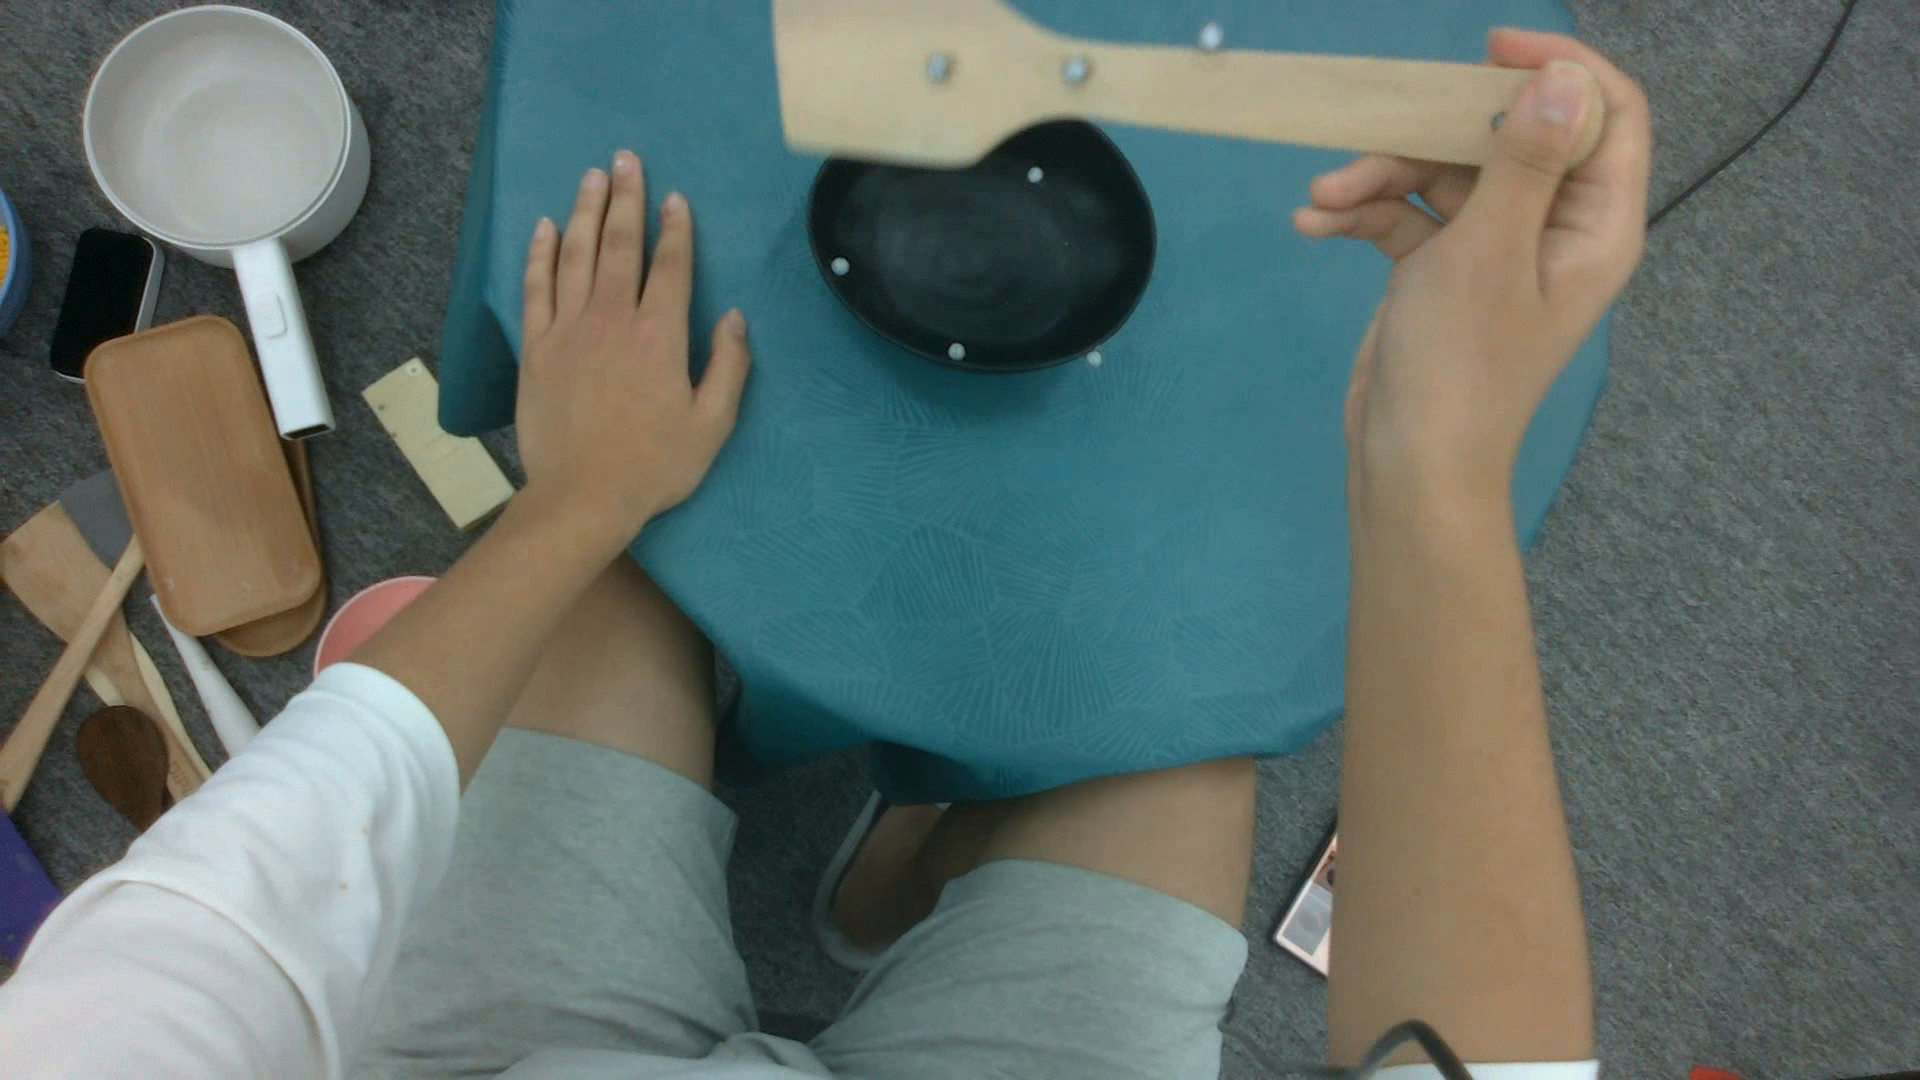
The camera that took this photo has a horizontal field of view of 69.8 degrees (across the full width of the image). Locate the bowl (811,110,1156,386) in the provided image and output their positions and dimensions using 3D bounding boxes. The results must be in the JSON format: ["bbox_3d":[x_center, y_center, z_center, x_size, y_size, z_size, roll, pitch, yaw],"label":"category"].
[{"bbox_3d":[0.010,-0.141,0.695,0.170,0.066,0.137,3,84,-5],"label":"bowl"}]

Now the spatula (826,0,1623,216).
[{"bbox_3d":[0.077,-0.162,0.477,0.293,0.011,0.072,22,120,23],"label":"spatula"}]
